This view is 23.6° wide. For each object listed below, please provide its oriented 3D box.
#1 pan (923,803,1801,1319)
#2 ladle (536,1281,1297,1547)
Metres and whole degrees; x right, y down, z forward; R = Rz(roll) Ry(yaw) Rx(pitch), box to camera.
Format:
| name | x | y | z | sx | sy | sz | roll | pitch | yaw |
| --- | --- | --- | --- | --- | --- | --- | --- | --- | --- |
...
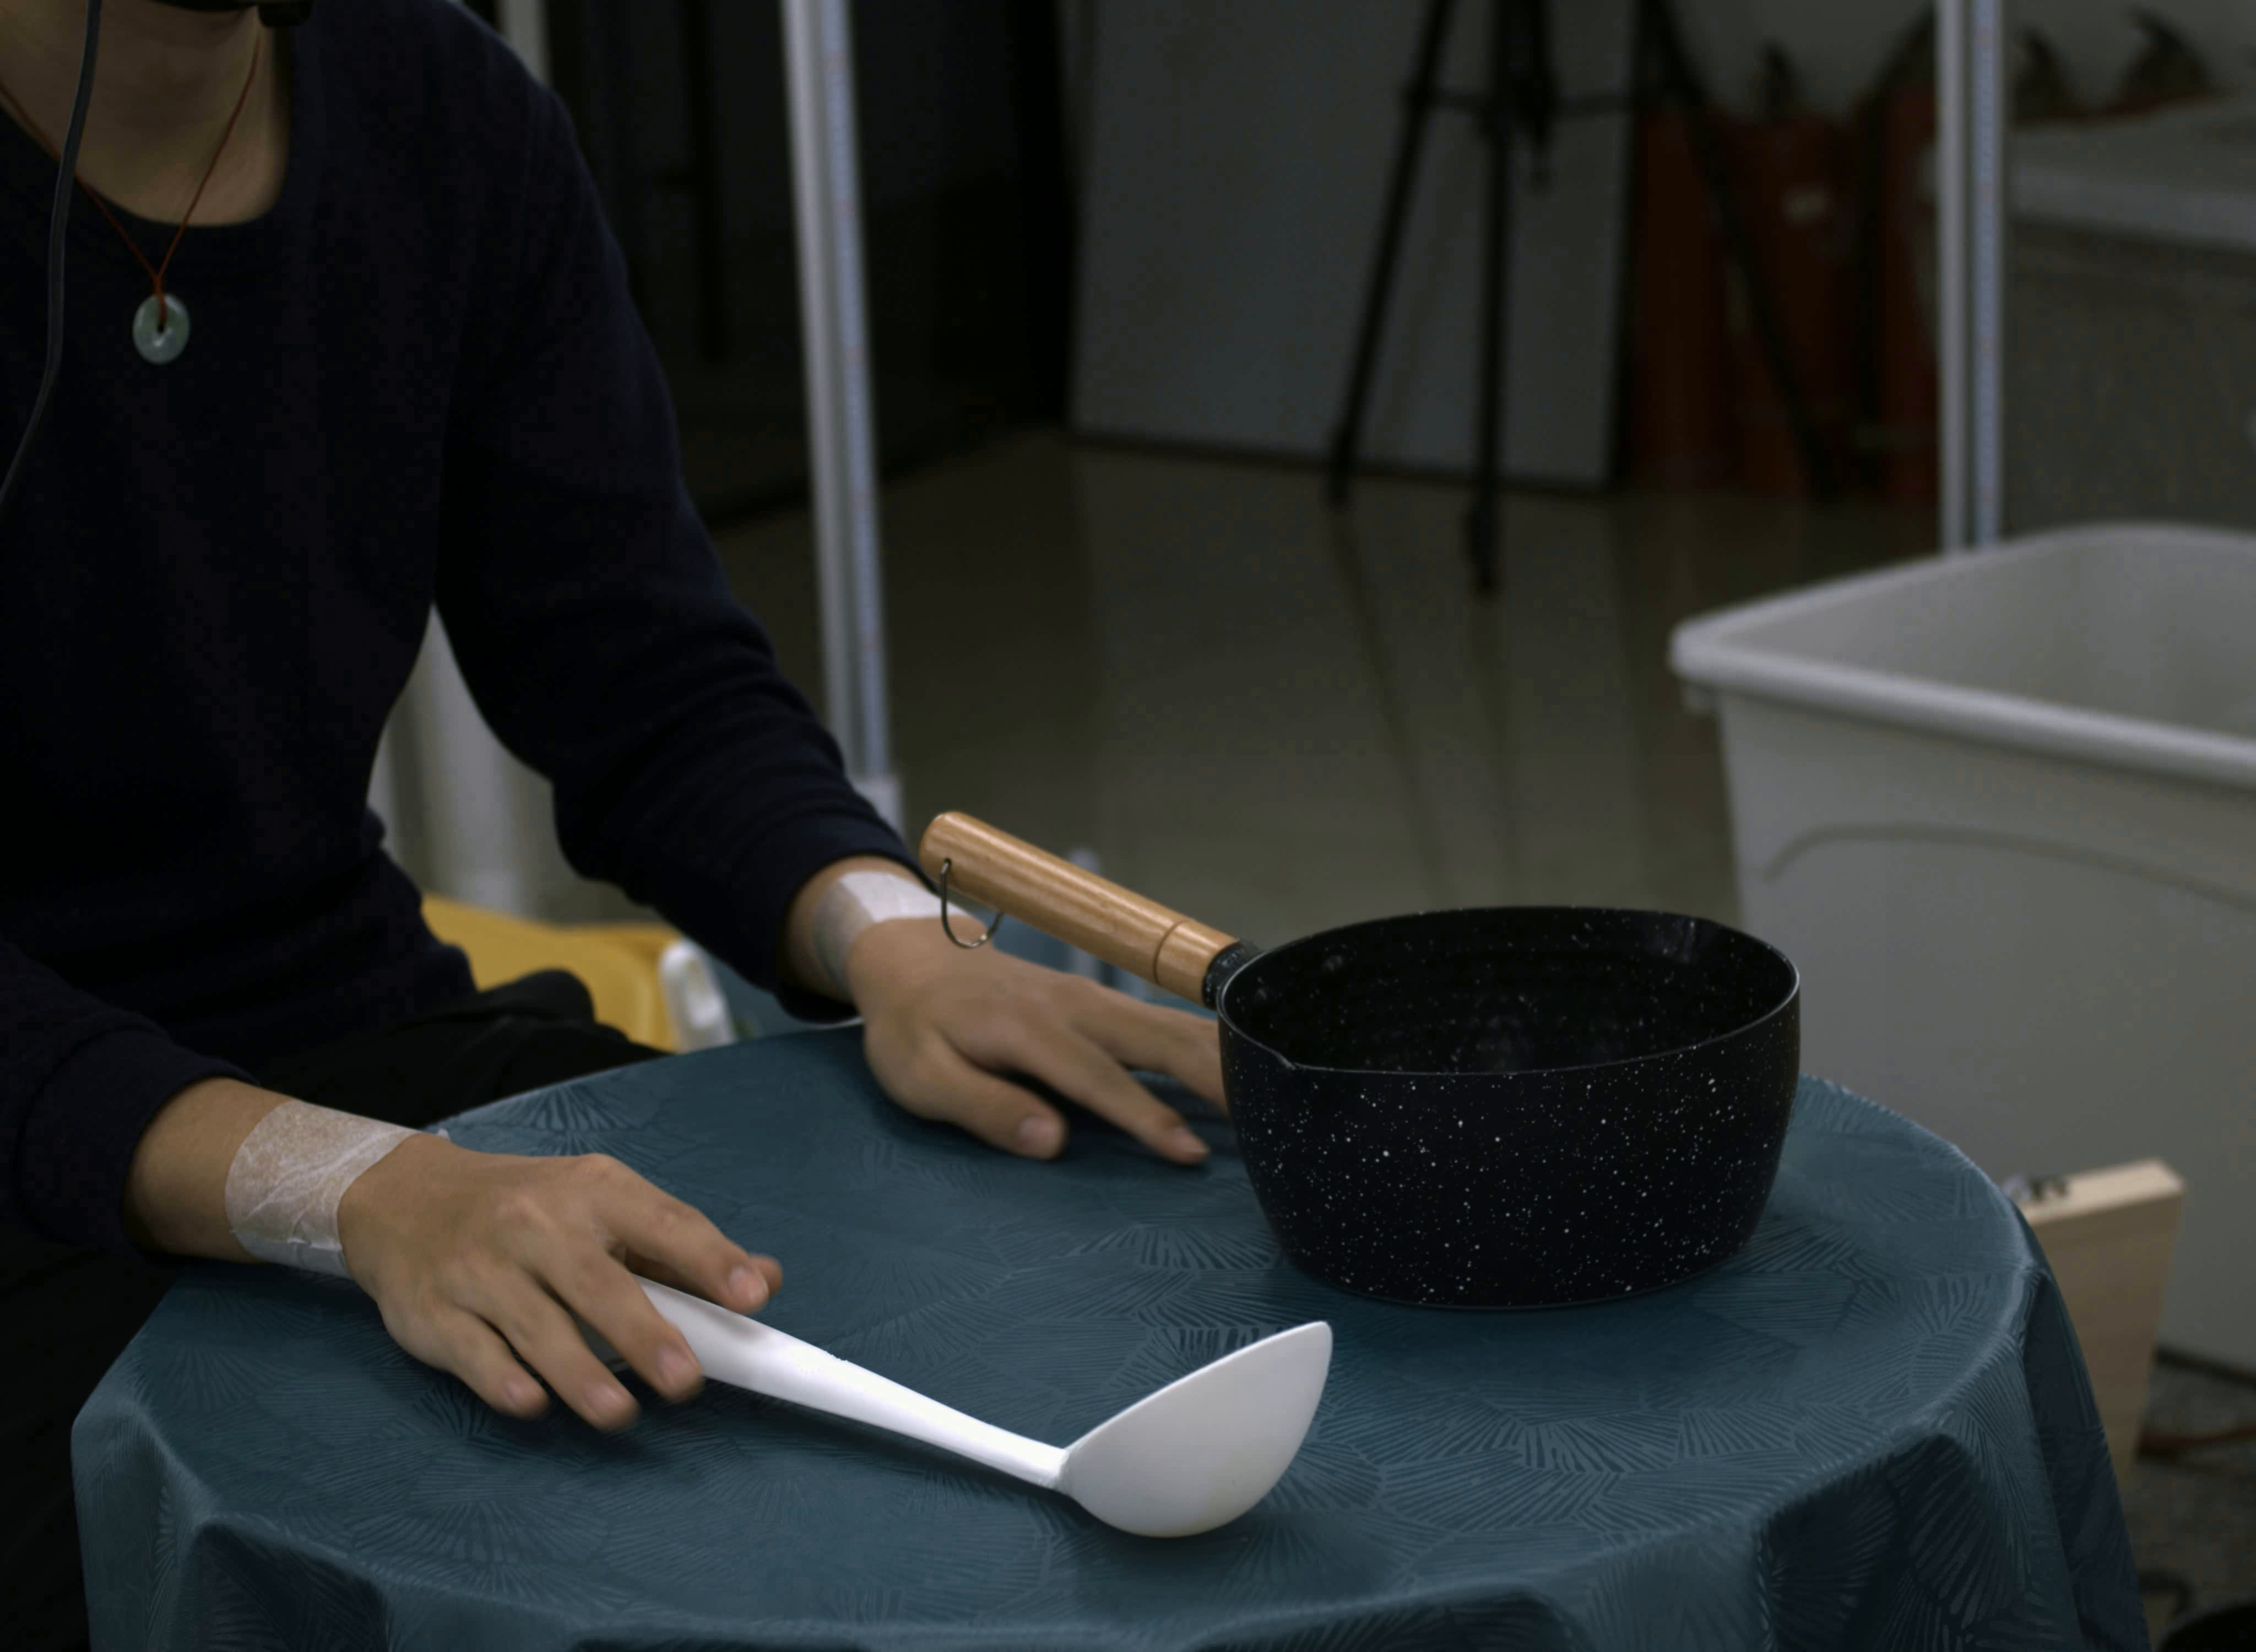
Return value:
| name | x | y | z | sx | sy | sz | roll | pitch | yaw |
| --- | --- | --- | --- | --- | --- | --- | --- | --- | --- |
| pan | 0.061 | 0.068 | 1.740 | 0.346 | 0.109 | 0.203 | 10 | 21 | 41 |
| ladle | -0.069 | 0.151 | 1.536 | 0.088 | 0.070 | 0.296 | -25 | 23 | -39 |
